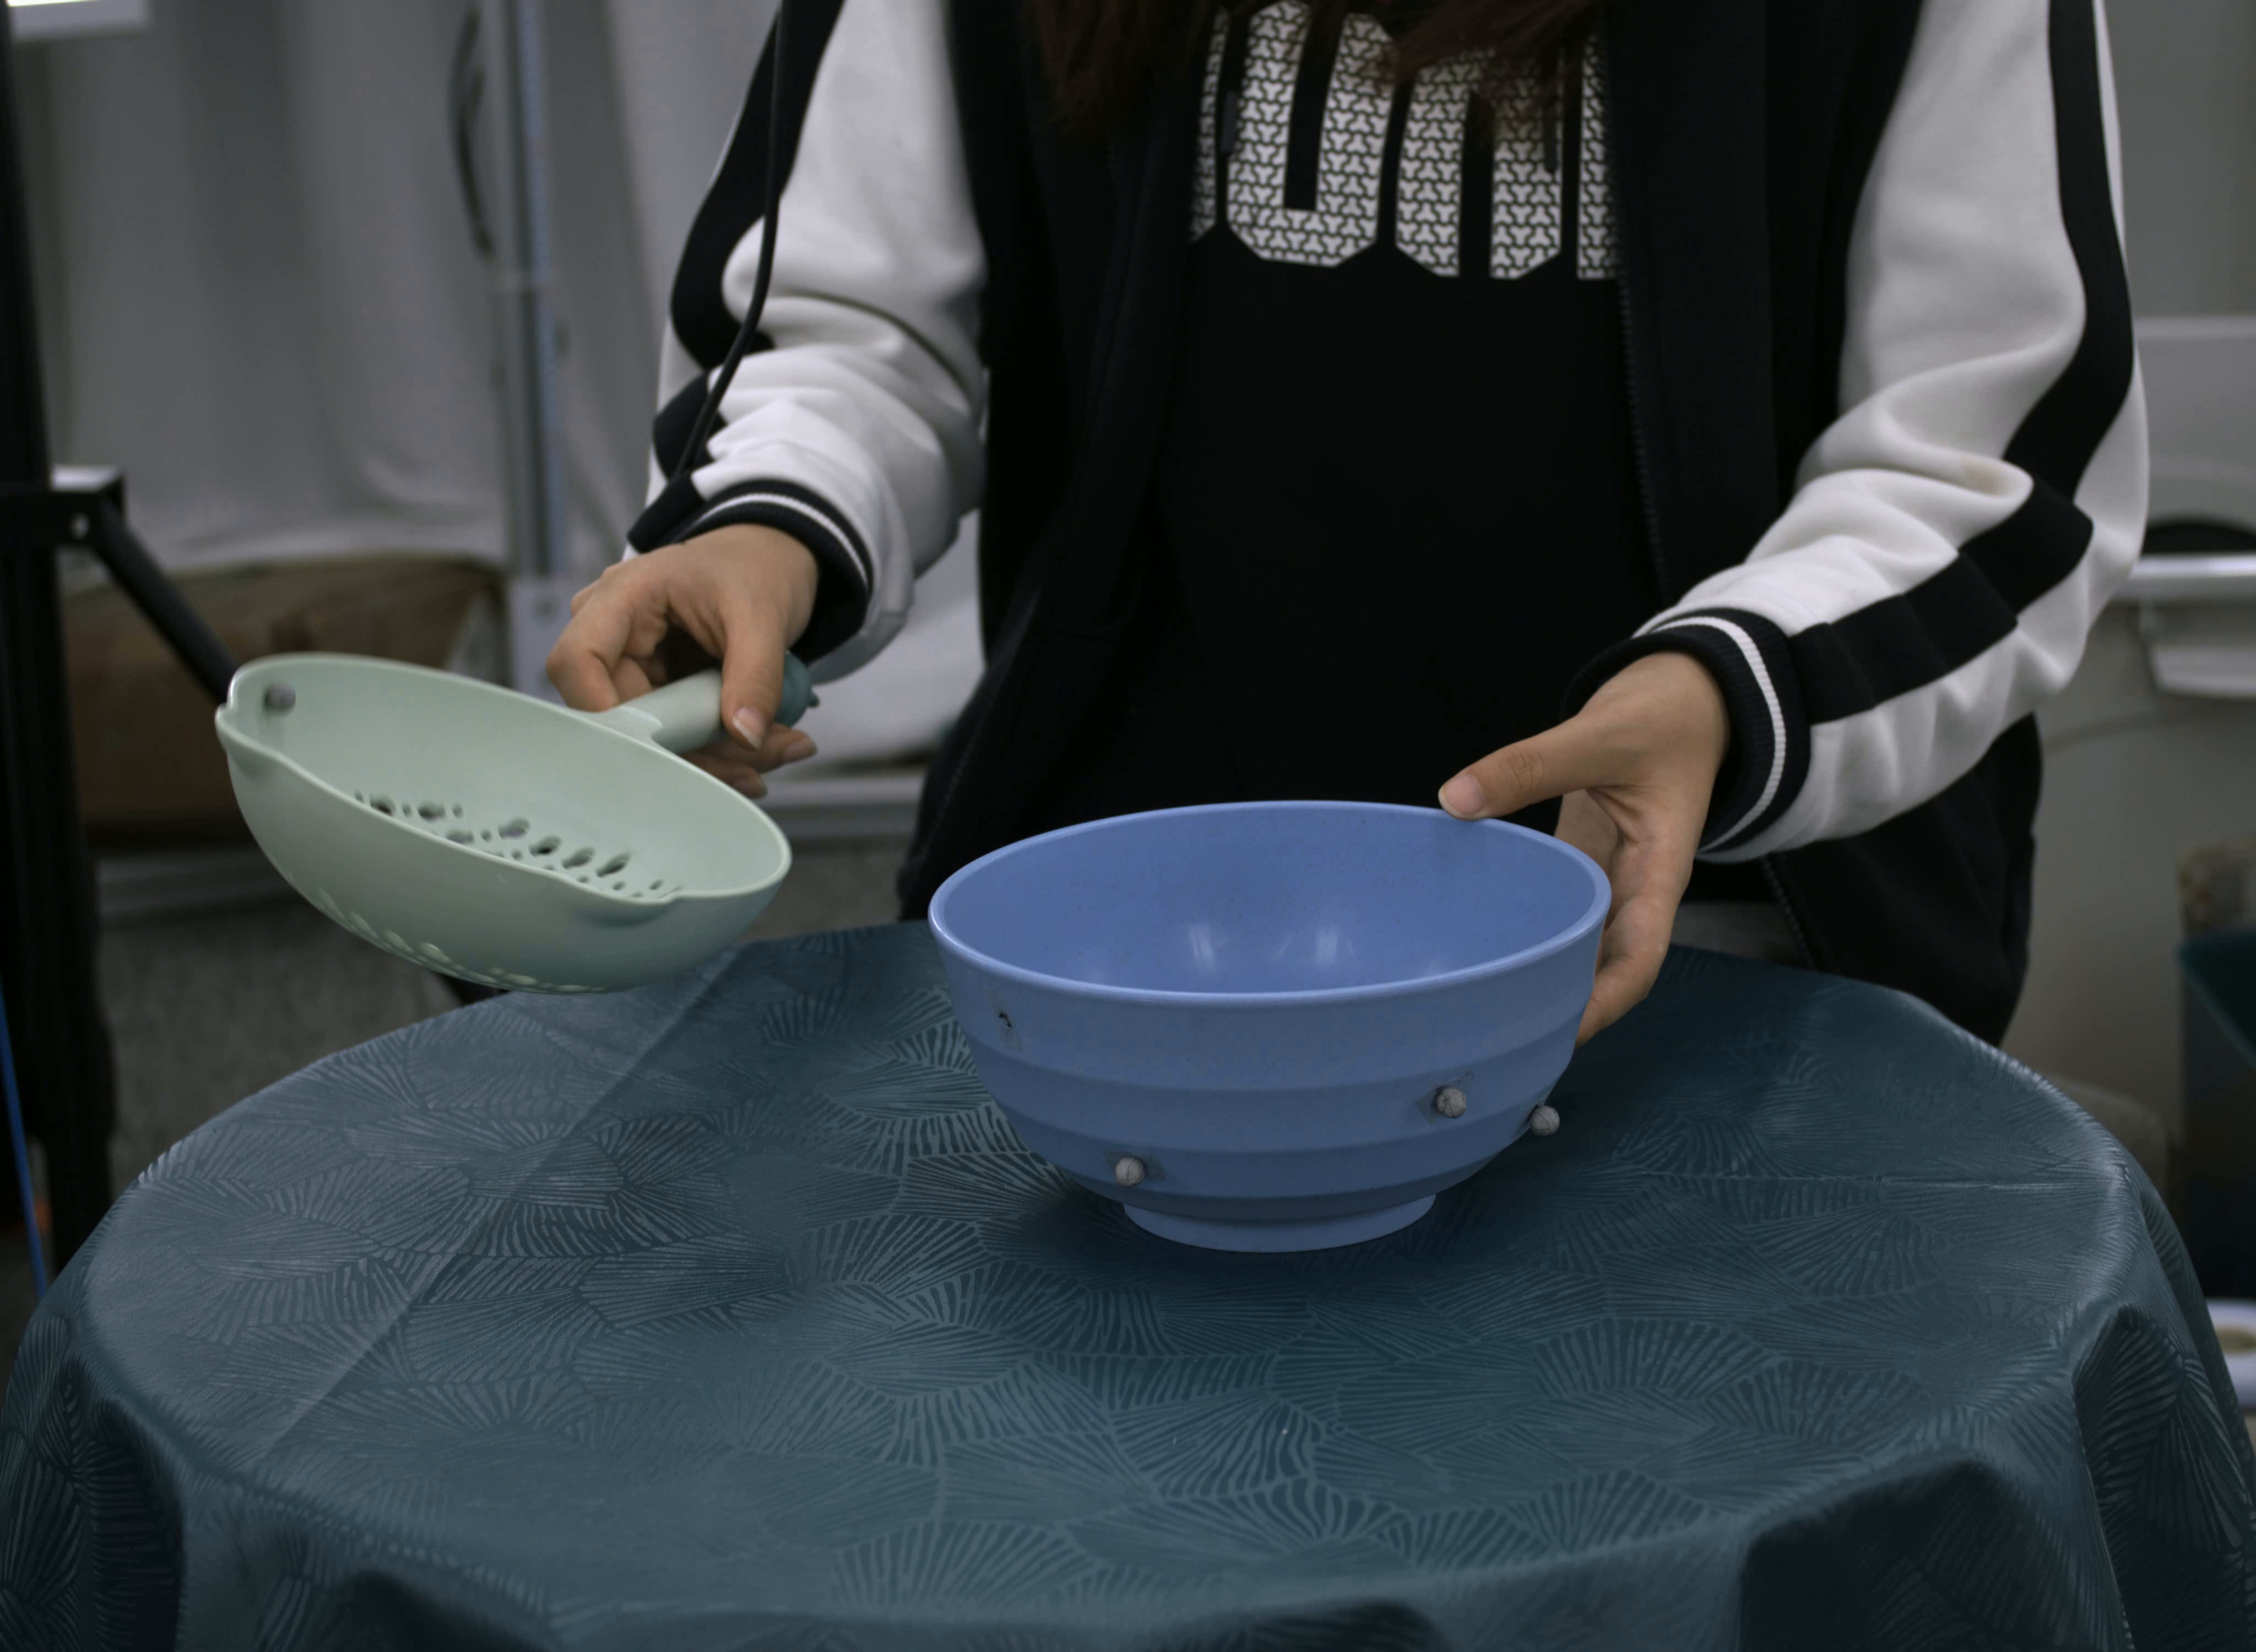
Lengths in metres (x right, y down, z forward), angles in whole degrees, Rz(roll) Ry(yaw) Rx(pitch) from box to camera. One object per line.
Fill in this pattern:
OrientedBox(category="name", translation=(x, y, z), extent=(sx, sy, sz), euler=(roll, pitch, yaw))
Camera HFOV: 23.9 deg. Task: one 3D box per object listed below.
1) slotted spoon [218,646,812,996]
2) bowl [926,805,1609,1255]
OrientedBox(category="slotted spoon", translation=(-0.157, -0.020, 1.633), extent=(0.170, 0.075, 0.355), euler=(25, 22, 10))
OrientedBox(category="bowl", translation=(0.041, 0.064, 1.533), extent=(0.195, 0.095, 0.197), euler=(-3, 15, -1))
